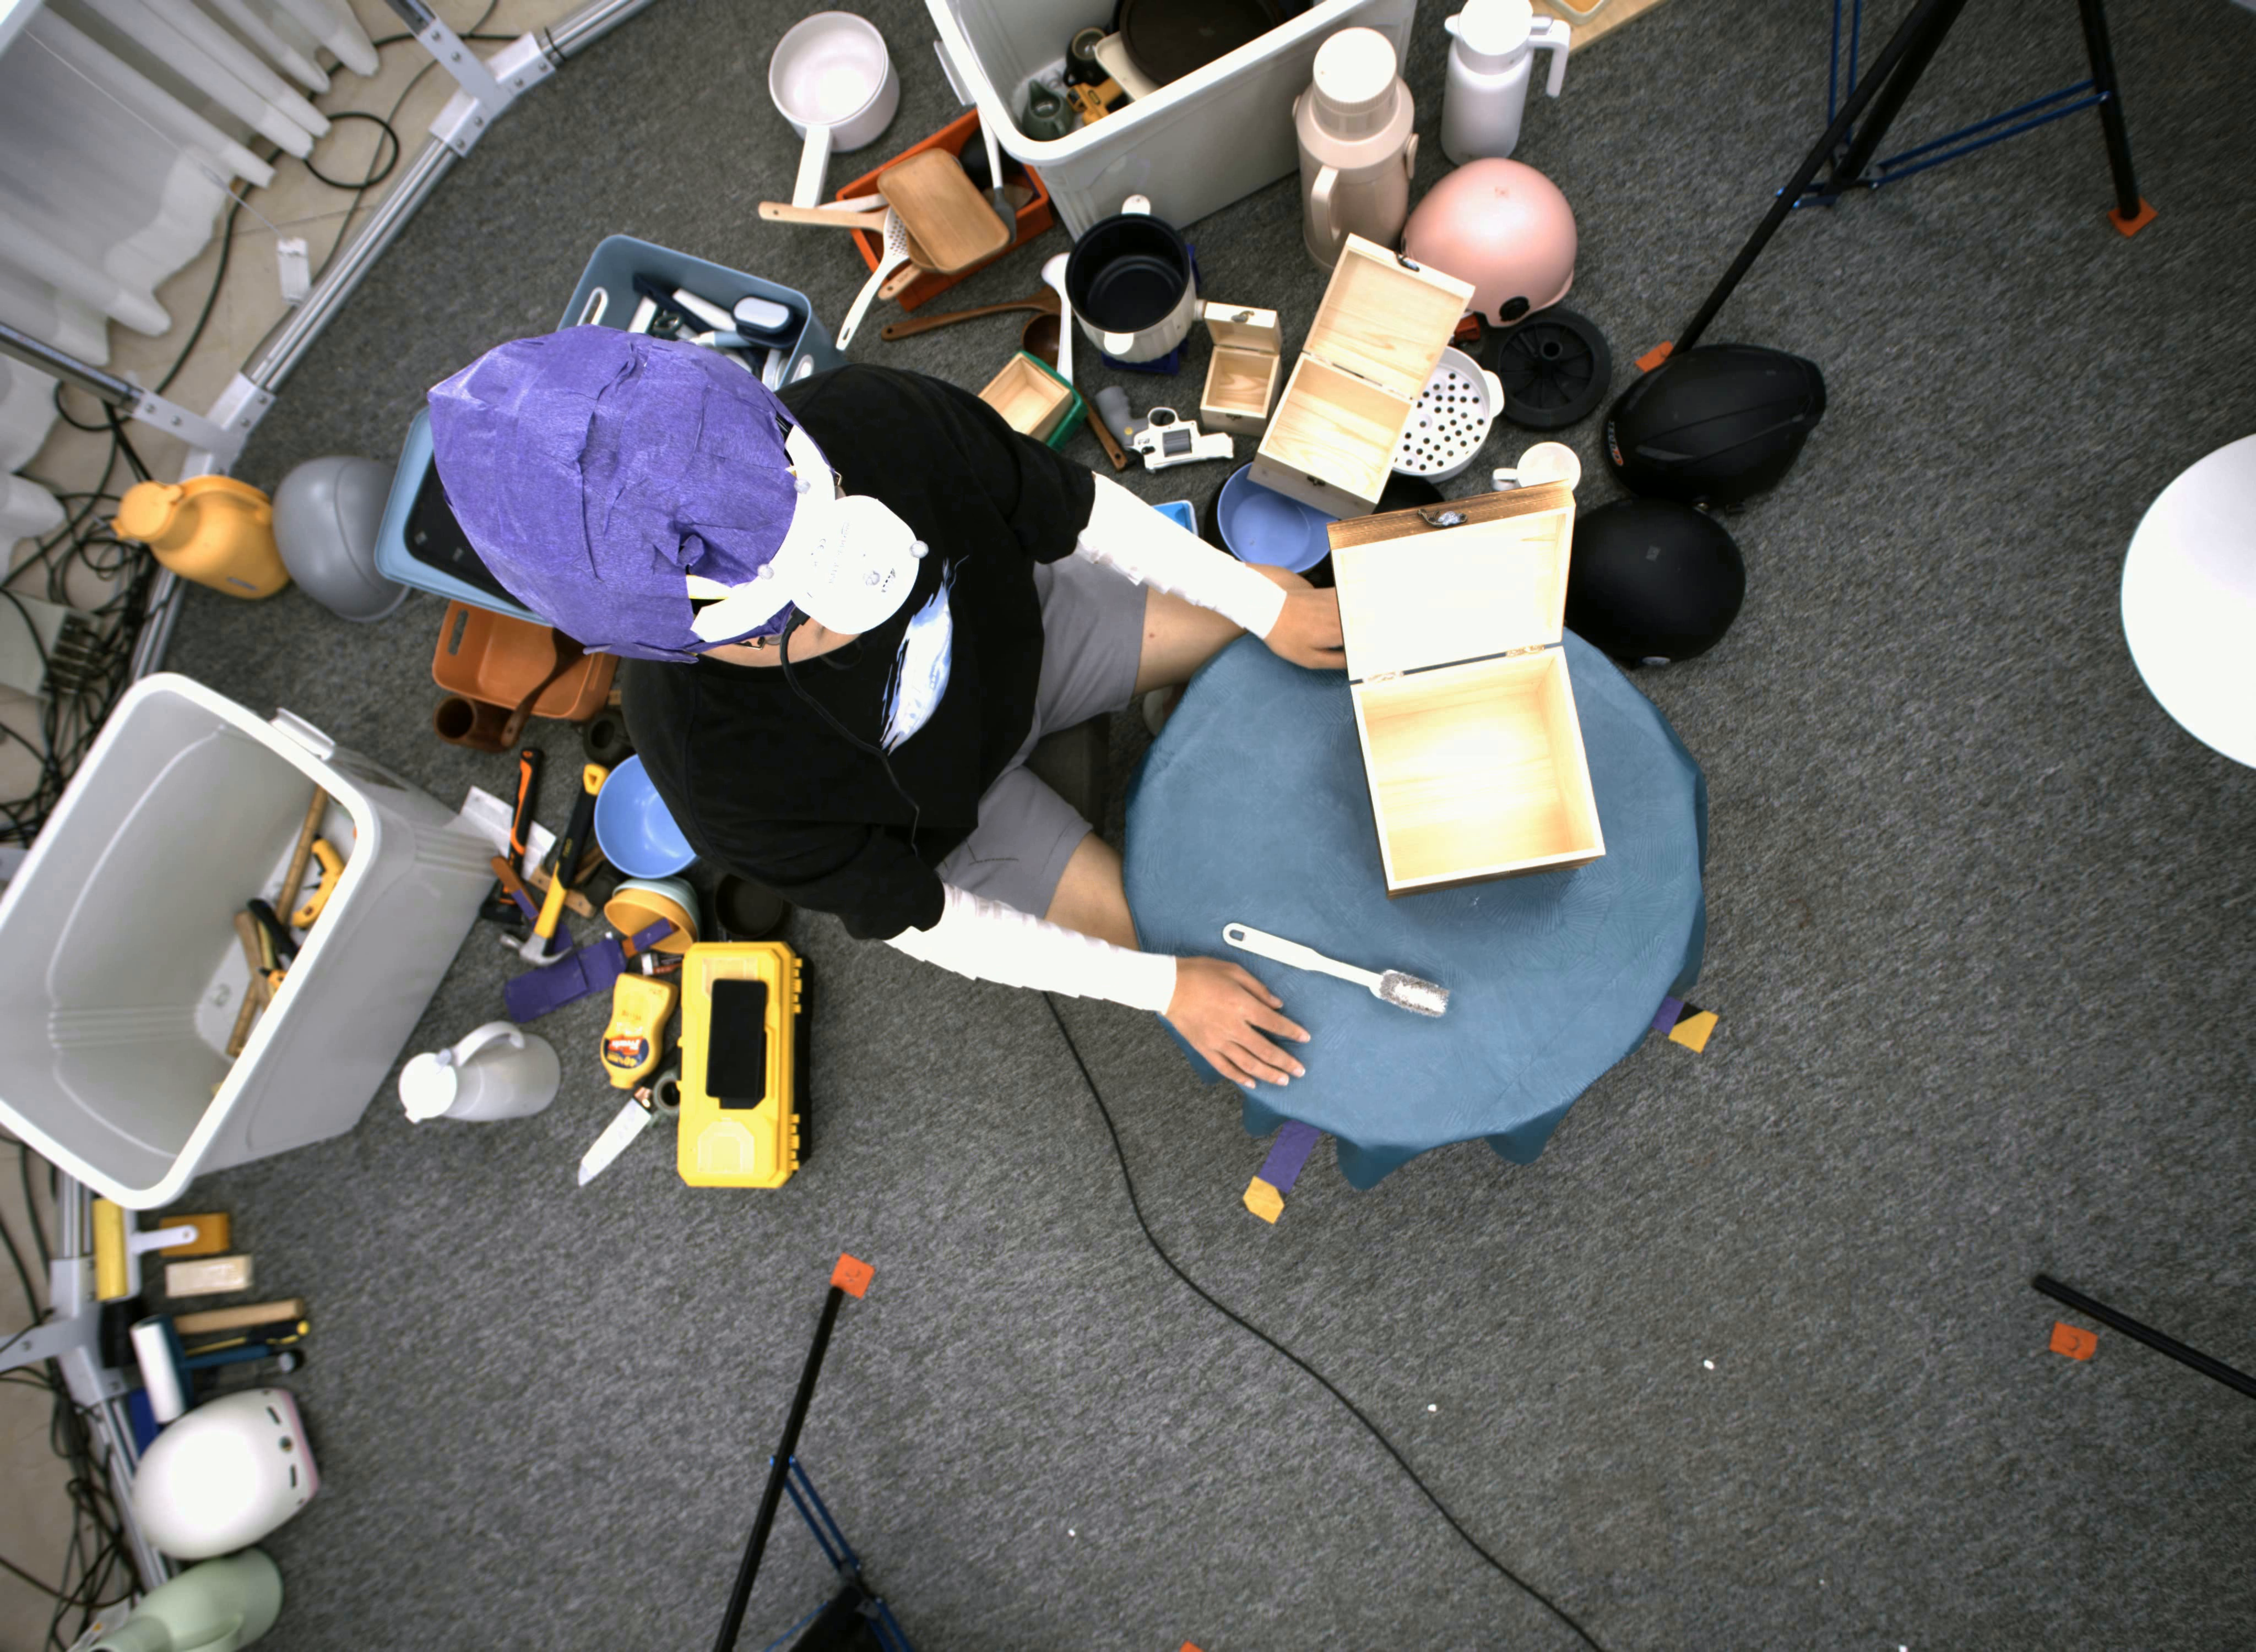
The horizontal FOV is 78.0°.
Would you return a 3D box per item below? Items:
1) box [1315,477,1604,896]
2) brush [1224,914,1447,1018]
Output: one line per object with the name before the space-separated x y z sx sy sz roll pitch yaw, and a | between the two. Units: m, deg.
box | 0.313 -0.107 1.276 0.210 0.375 0.320 -10 84 10
brush | 0.212 0.142 1.441 0.243 0.050 0.034 20 92 11
